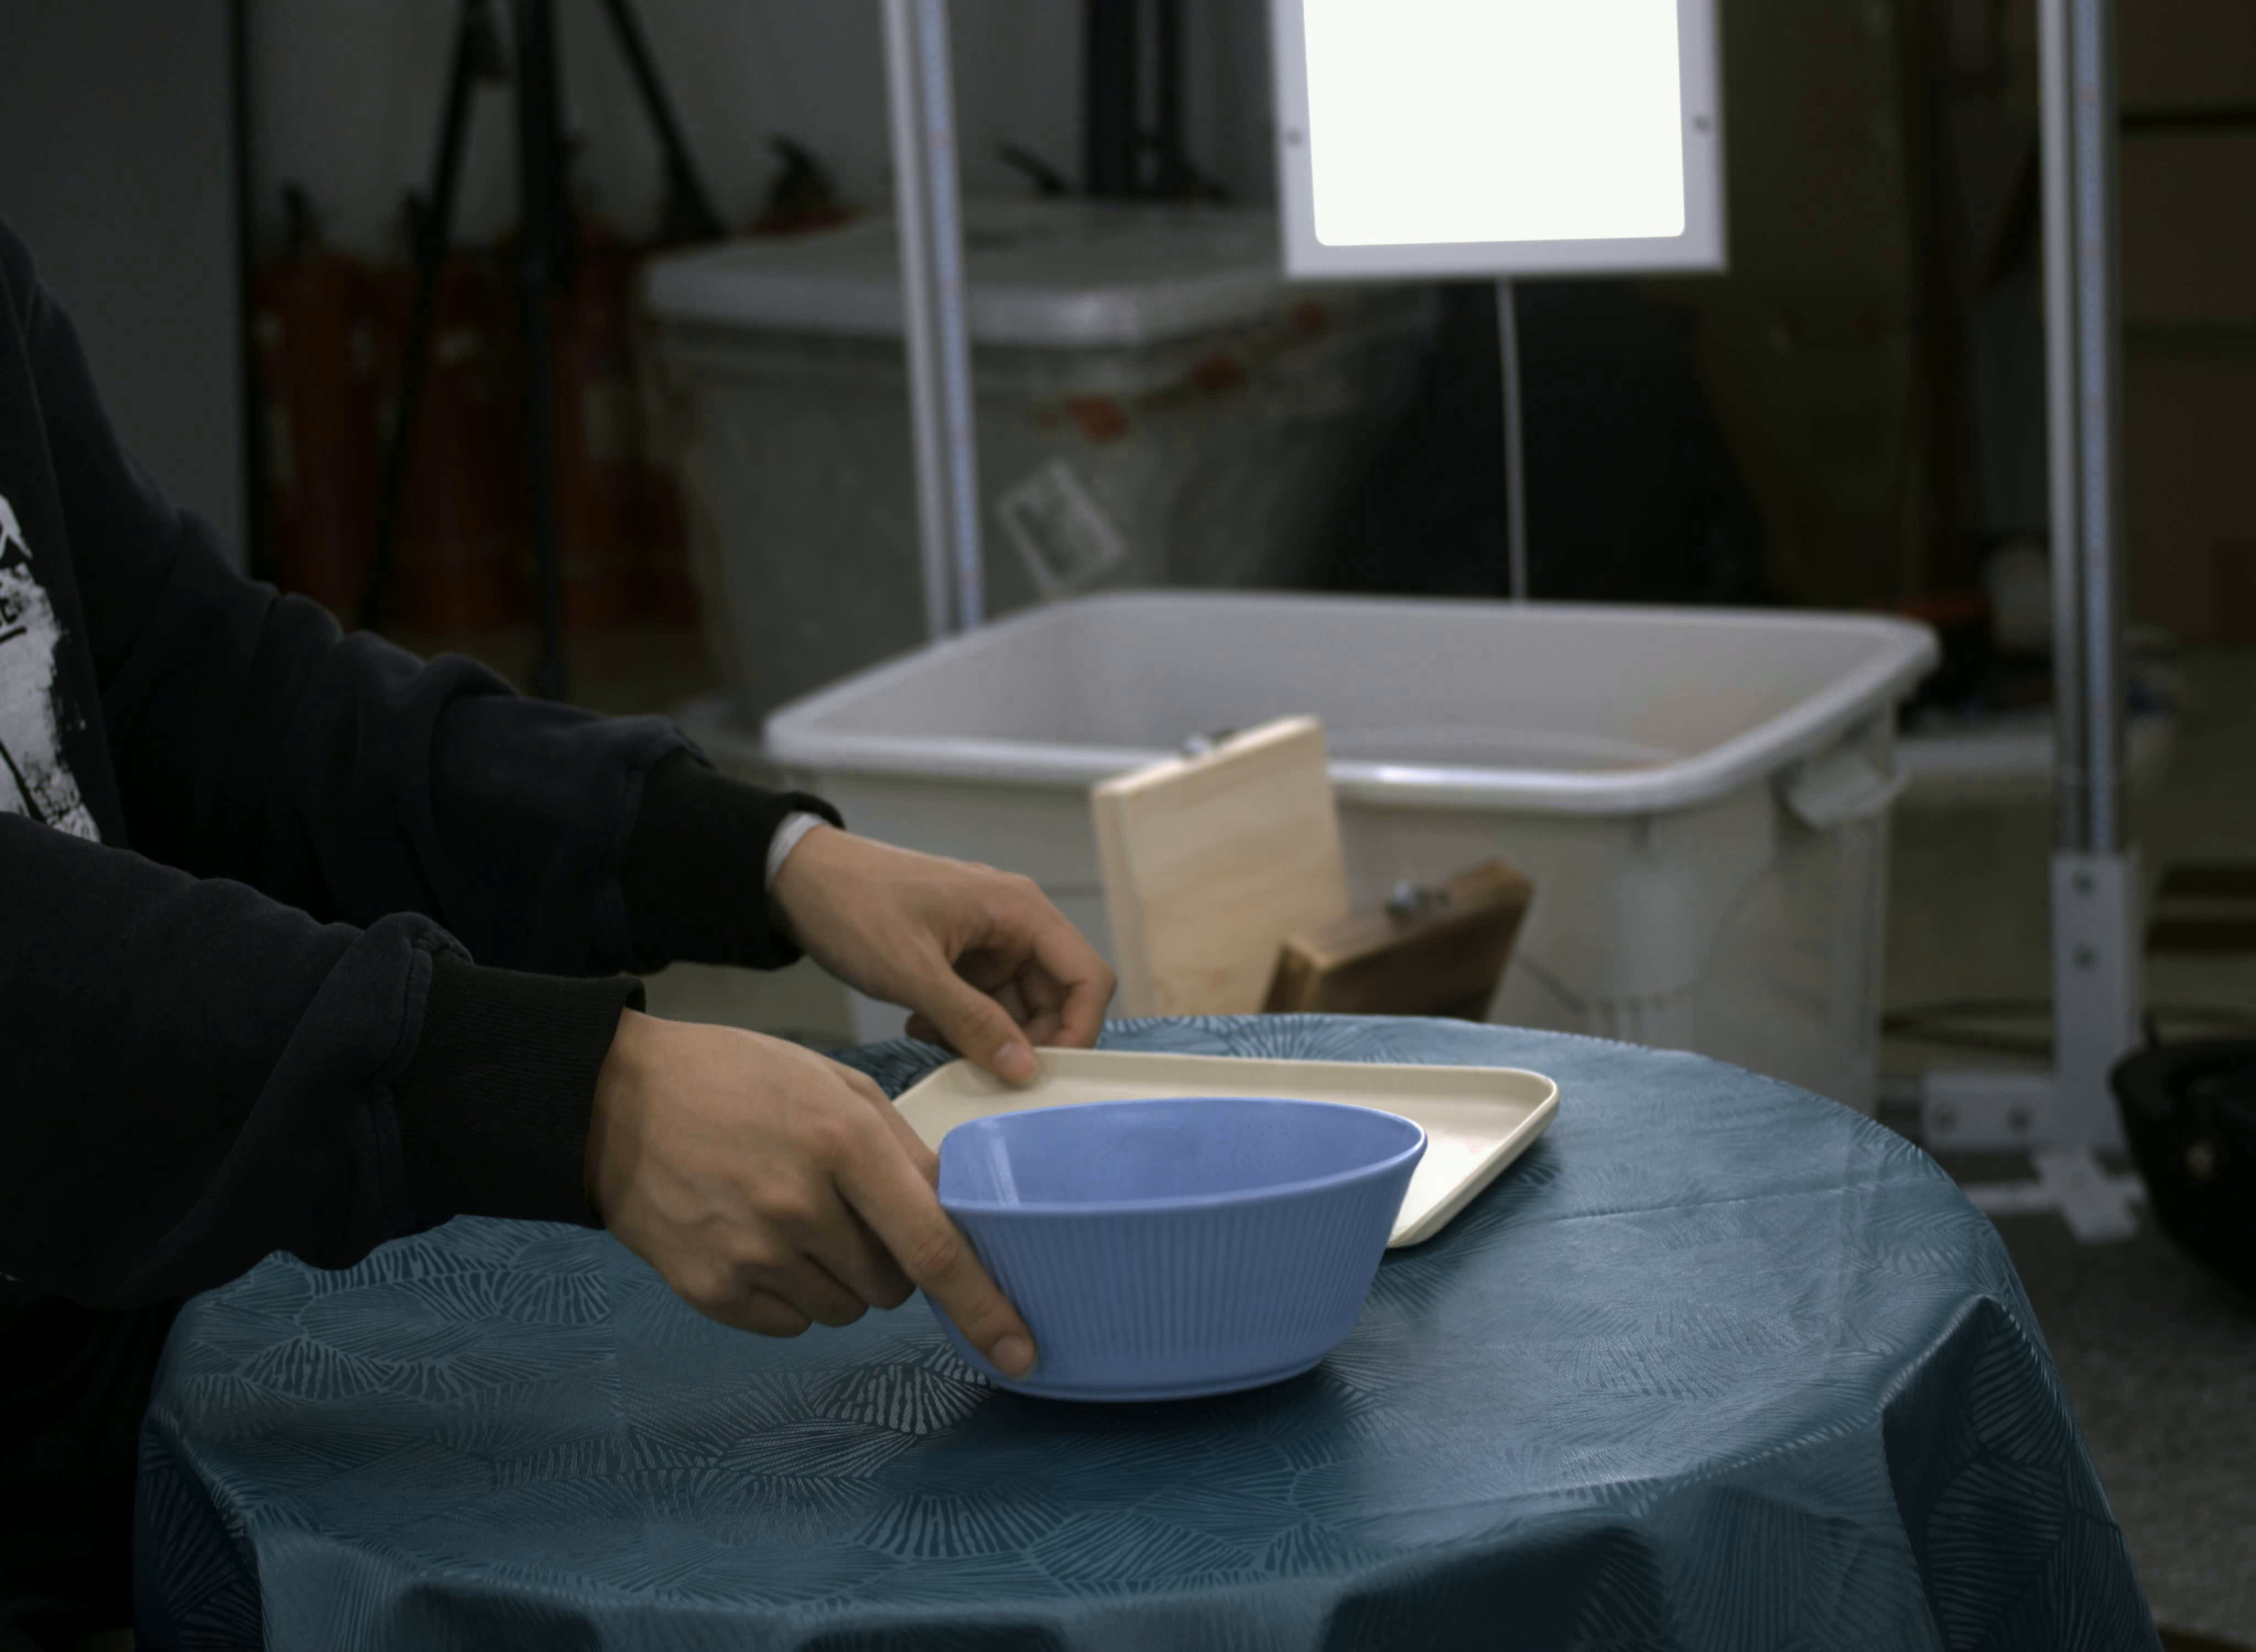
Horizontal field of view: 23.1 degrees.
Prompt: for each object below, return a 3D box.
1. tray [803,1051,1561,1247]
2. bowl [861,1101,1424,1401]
[{"bbox_3d":[0.020,0.112,1.912,0.243,0.017,0.168,1,14,25],"label":"tray"},{"bbox_3d":[0.006,0.132,1.701,0.175,0.070,0.176,-3,7,-1],"label":"bowl"}]
